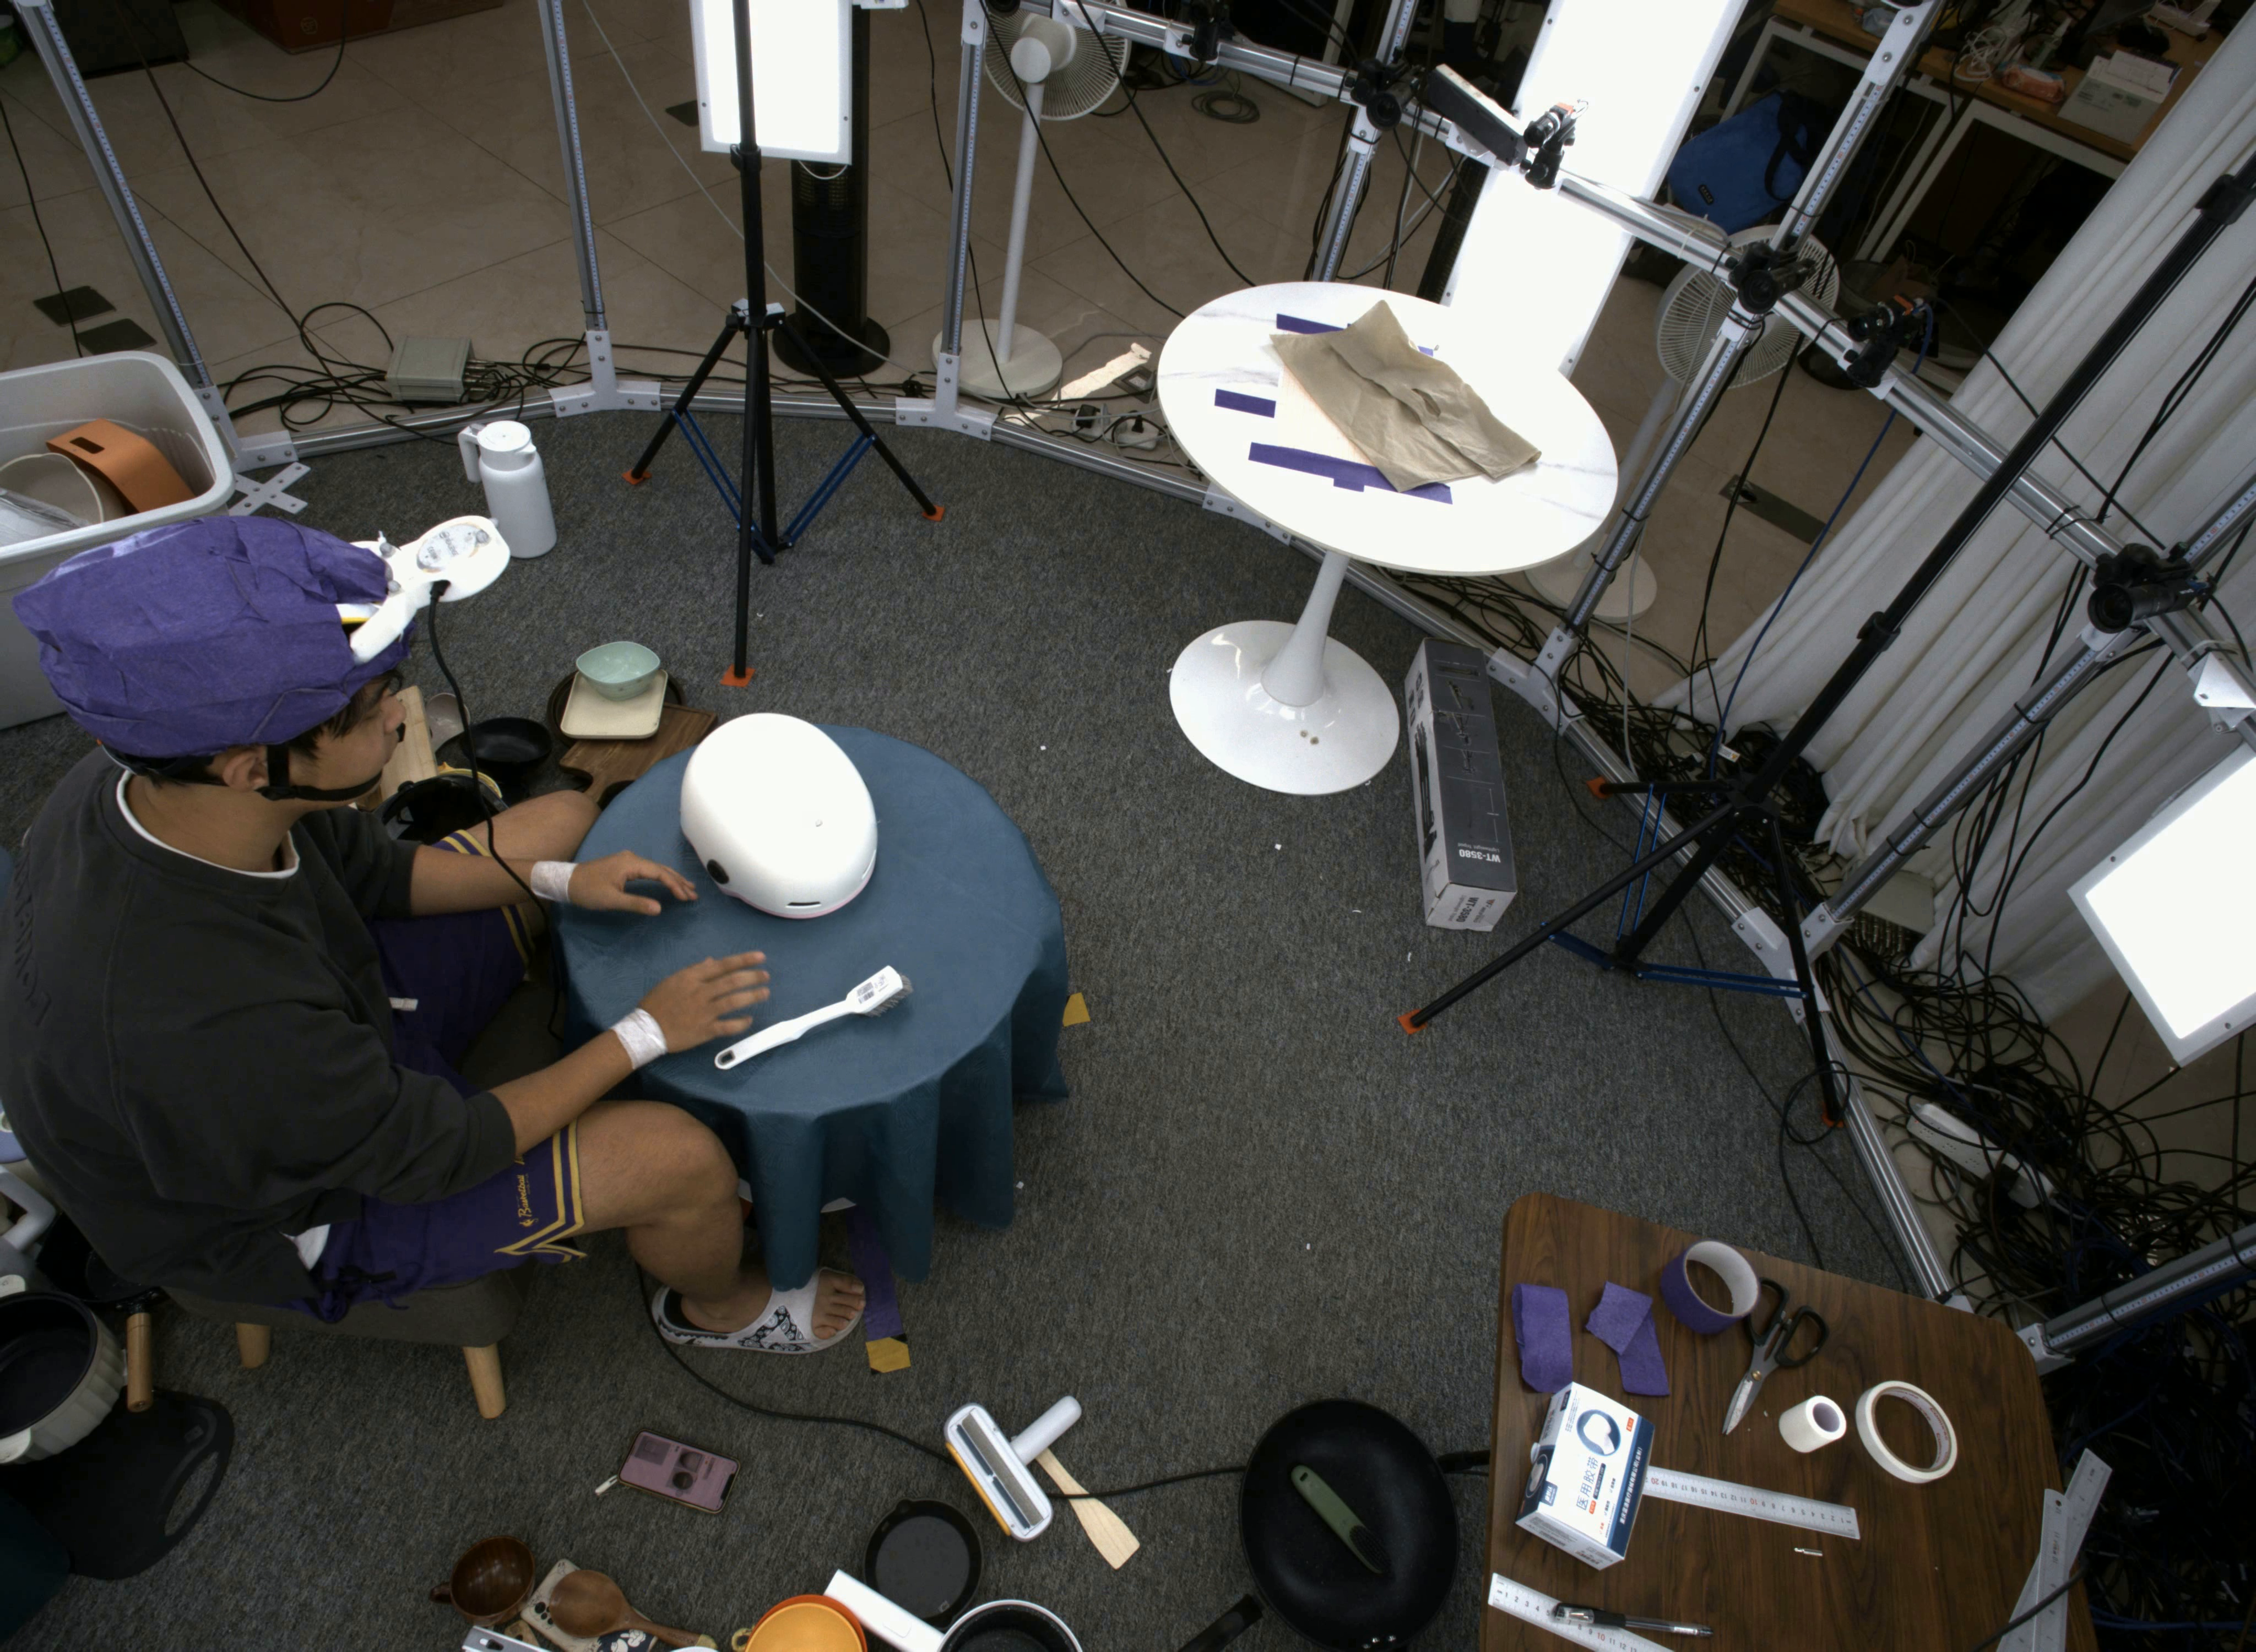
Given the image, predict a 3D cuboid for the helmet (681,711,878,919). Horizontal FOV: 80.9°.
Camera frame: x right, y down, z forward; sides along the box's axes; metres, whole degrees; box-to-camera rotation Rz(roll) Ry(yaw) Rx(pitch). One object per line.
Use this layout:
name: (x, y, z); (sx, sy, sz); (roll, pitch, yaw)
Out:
helmet: (-0.442, -0.035, 1.645); (0.238, 0.170, 0.263); (-34, 68, -33)

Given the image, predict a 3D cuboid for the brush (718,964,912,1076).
brush: (-0.373, 0.236, 1.551); (0.243, 0.051, 0.033); (-28, 62, -15)
